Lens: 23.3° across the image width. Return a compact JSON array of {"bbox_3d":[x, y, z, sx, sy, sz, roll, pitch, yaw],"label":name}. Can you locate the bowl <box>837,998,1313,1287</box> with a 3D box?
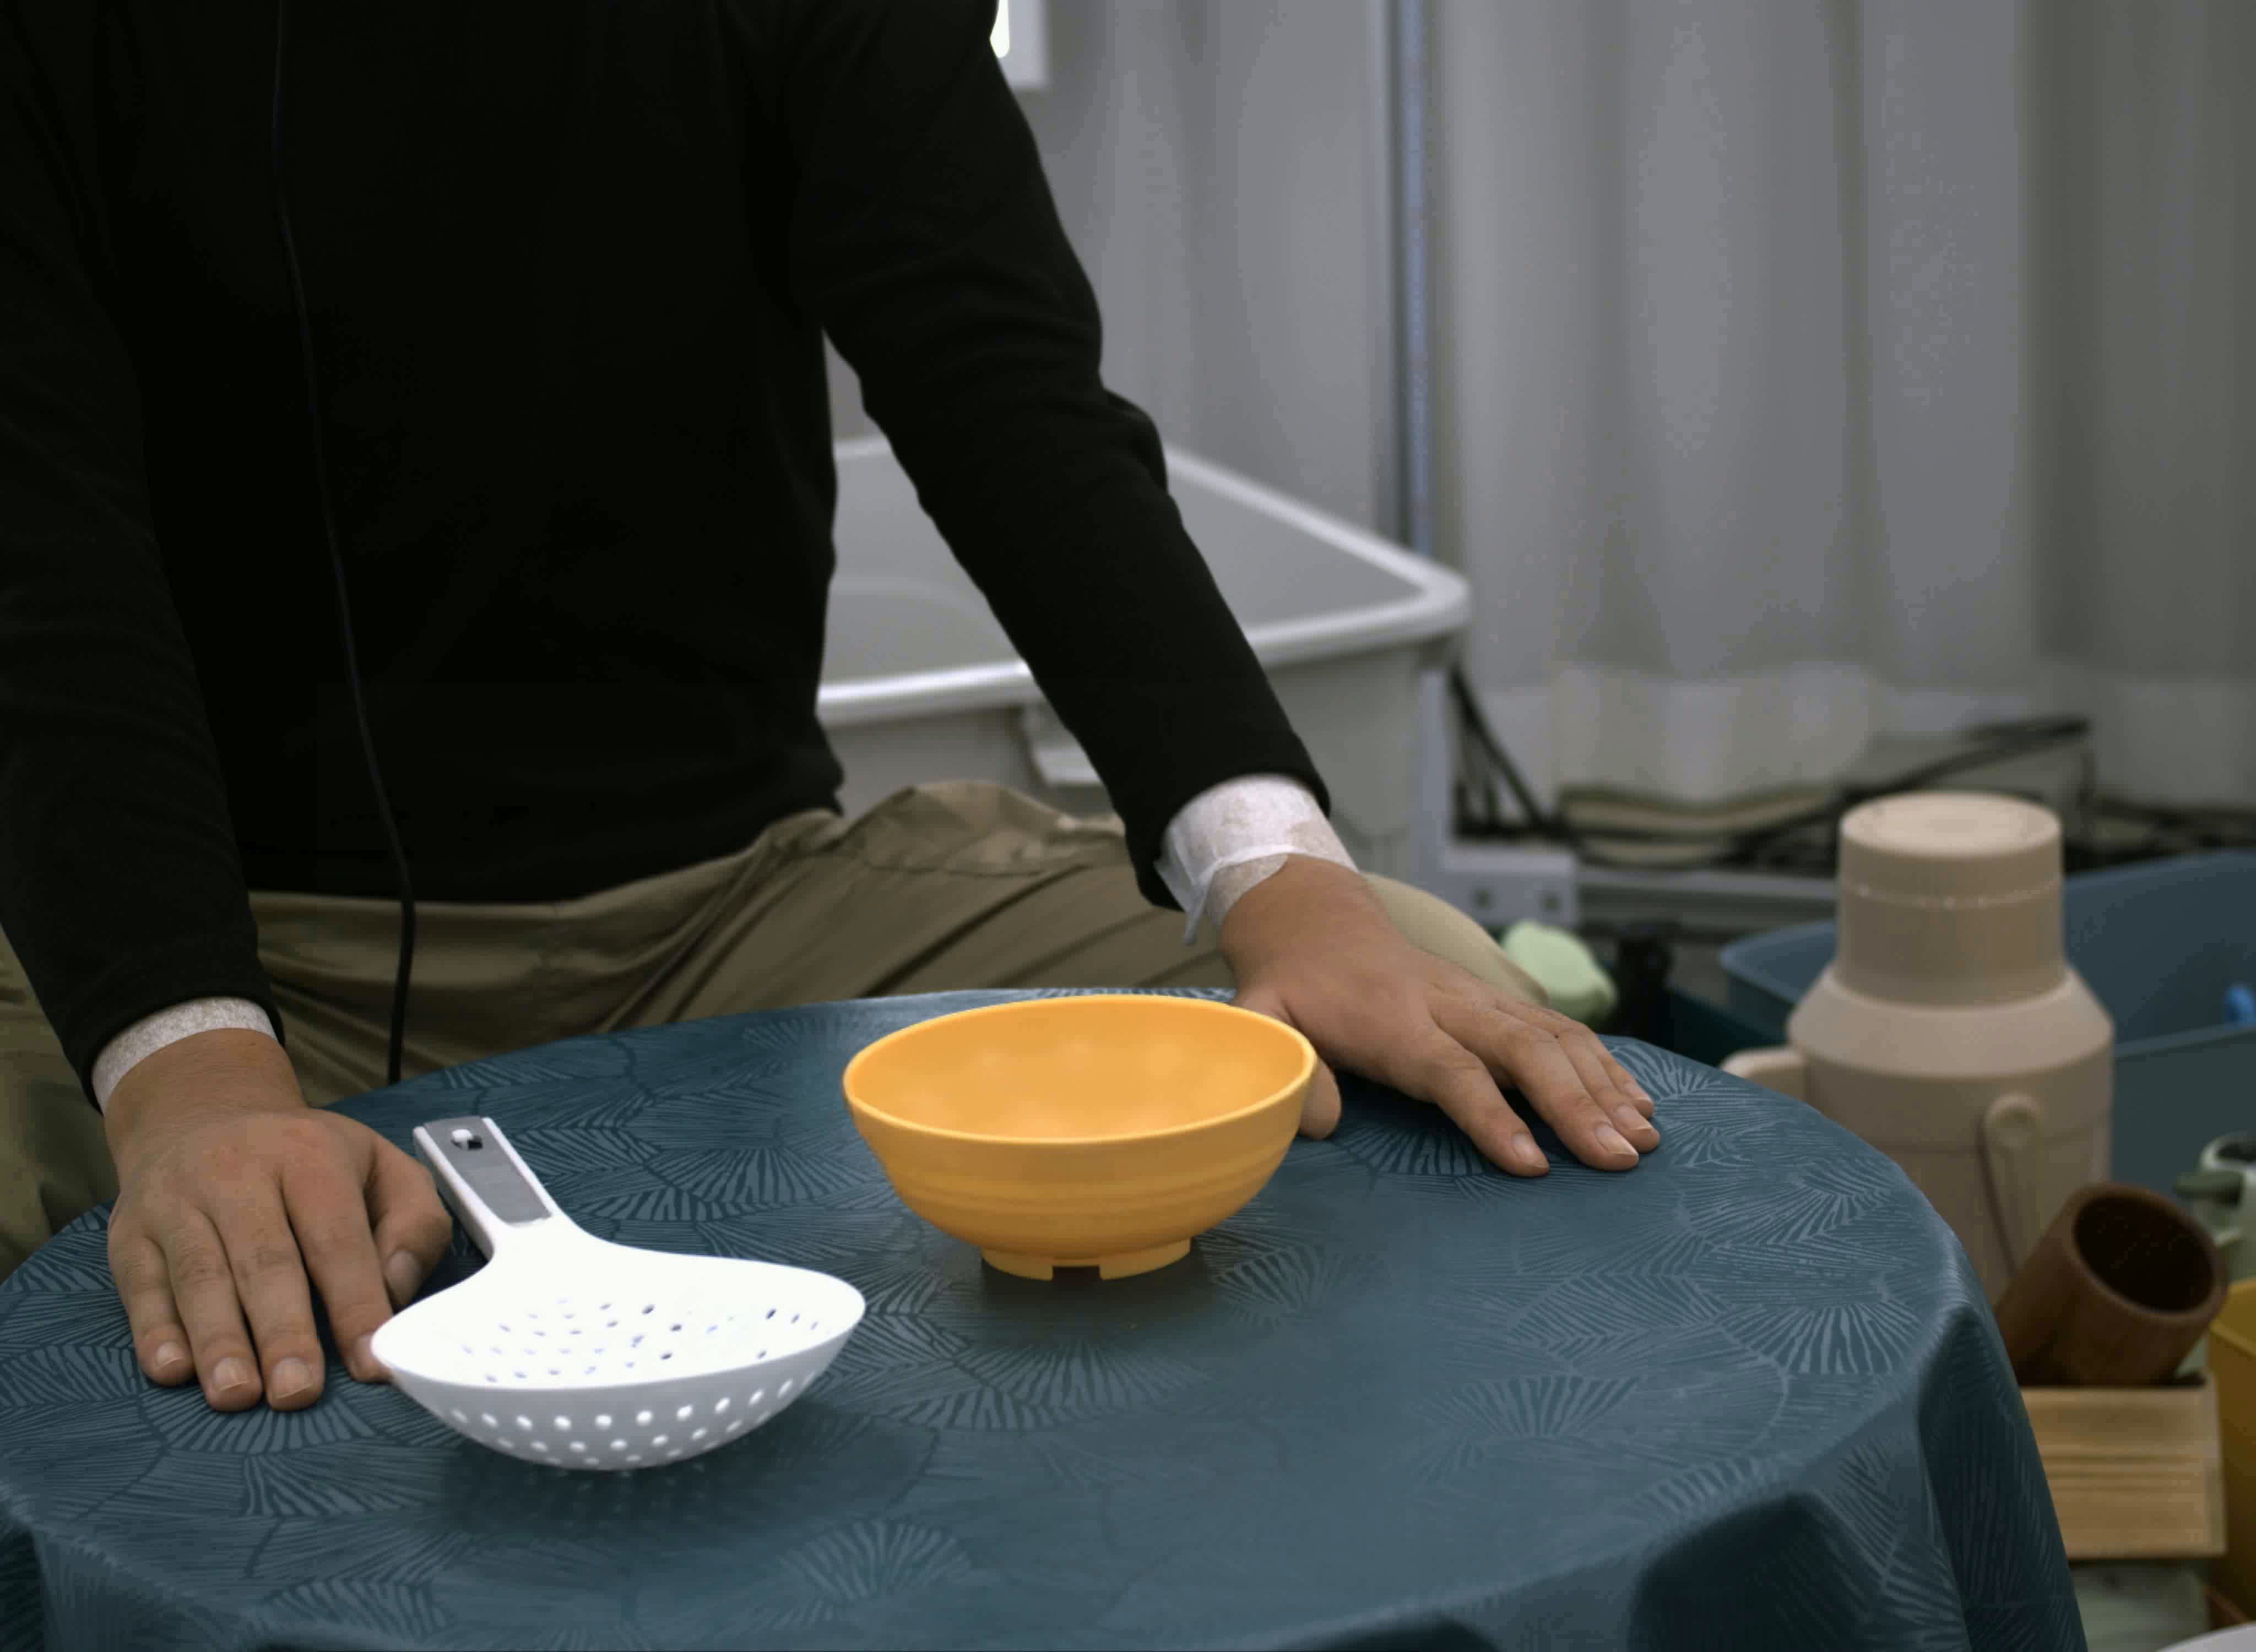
[{"bbox_3d":[-0.016,0.101,1.660,0.145,0.060,0.146,-1,15,0],"label":"bowl"}]

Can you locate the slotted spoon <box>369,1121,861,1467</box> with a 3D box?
[{"bbox_3d":[-0.172,0.128,1.608,0.135,0.045,0.352,-6,14,-16],"label":"slotted spoon"}]
